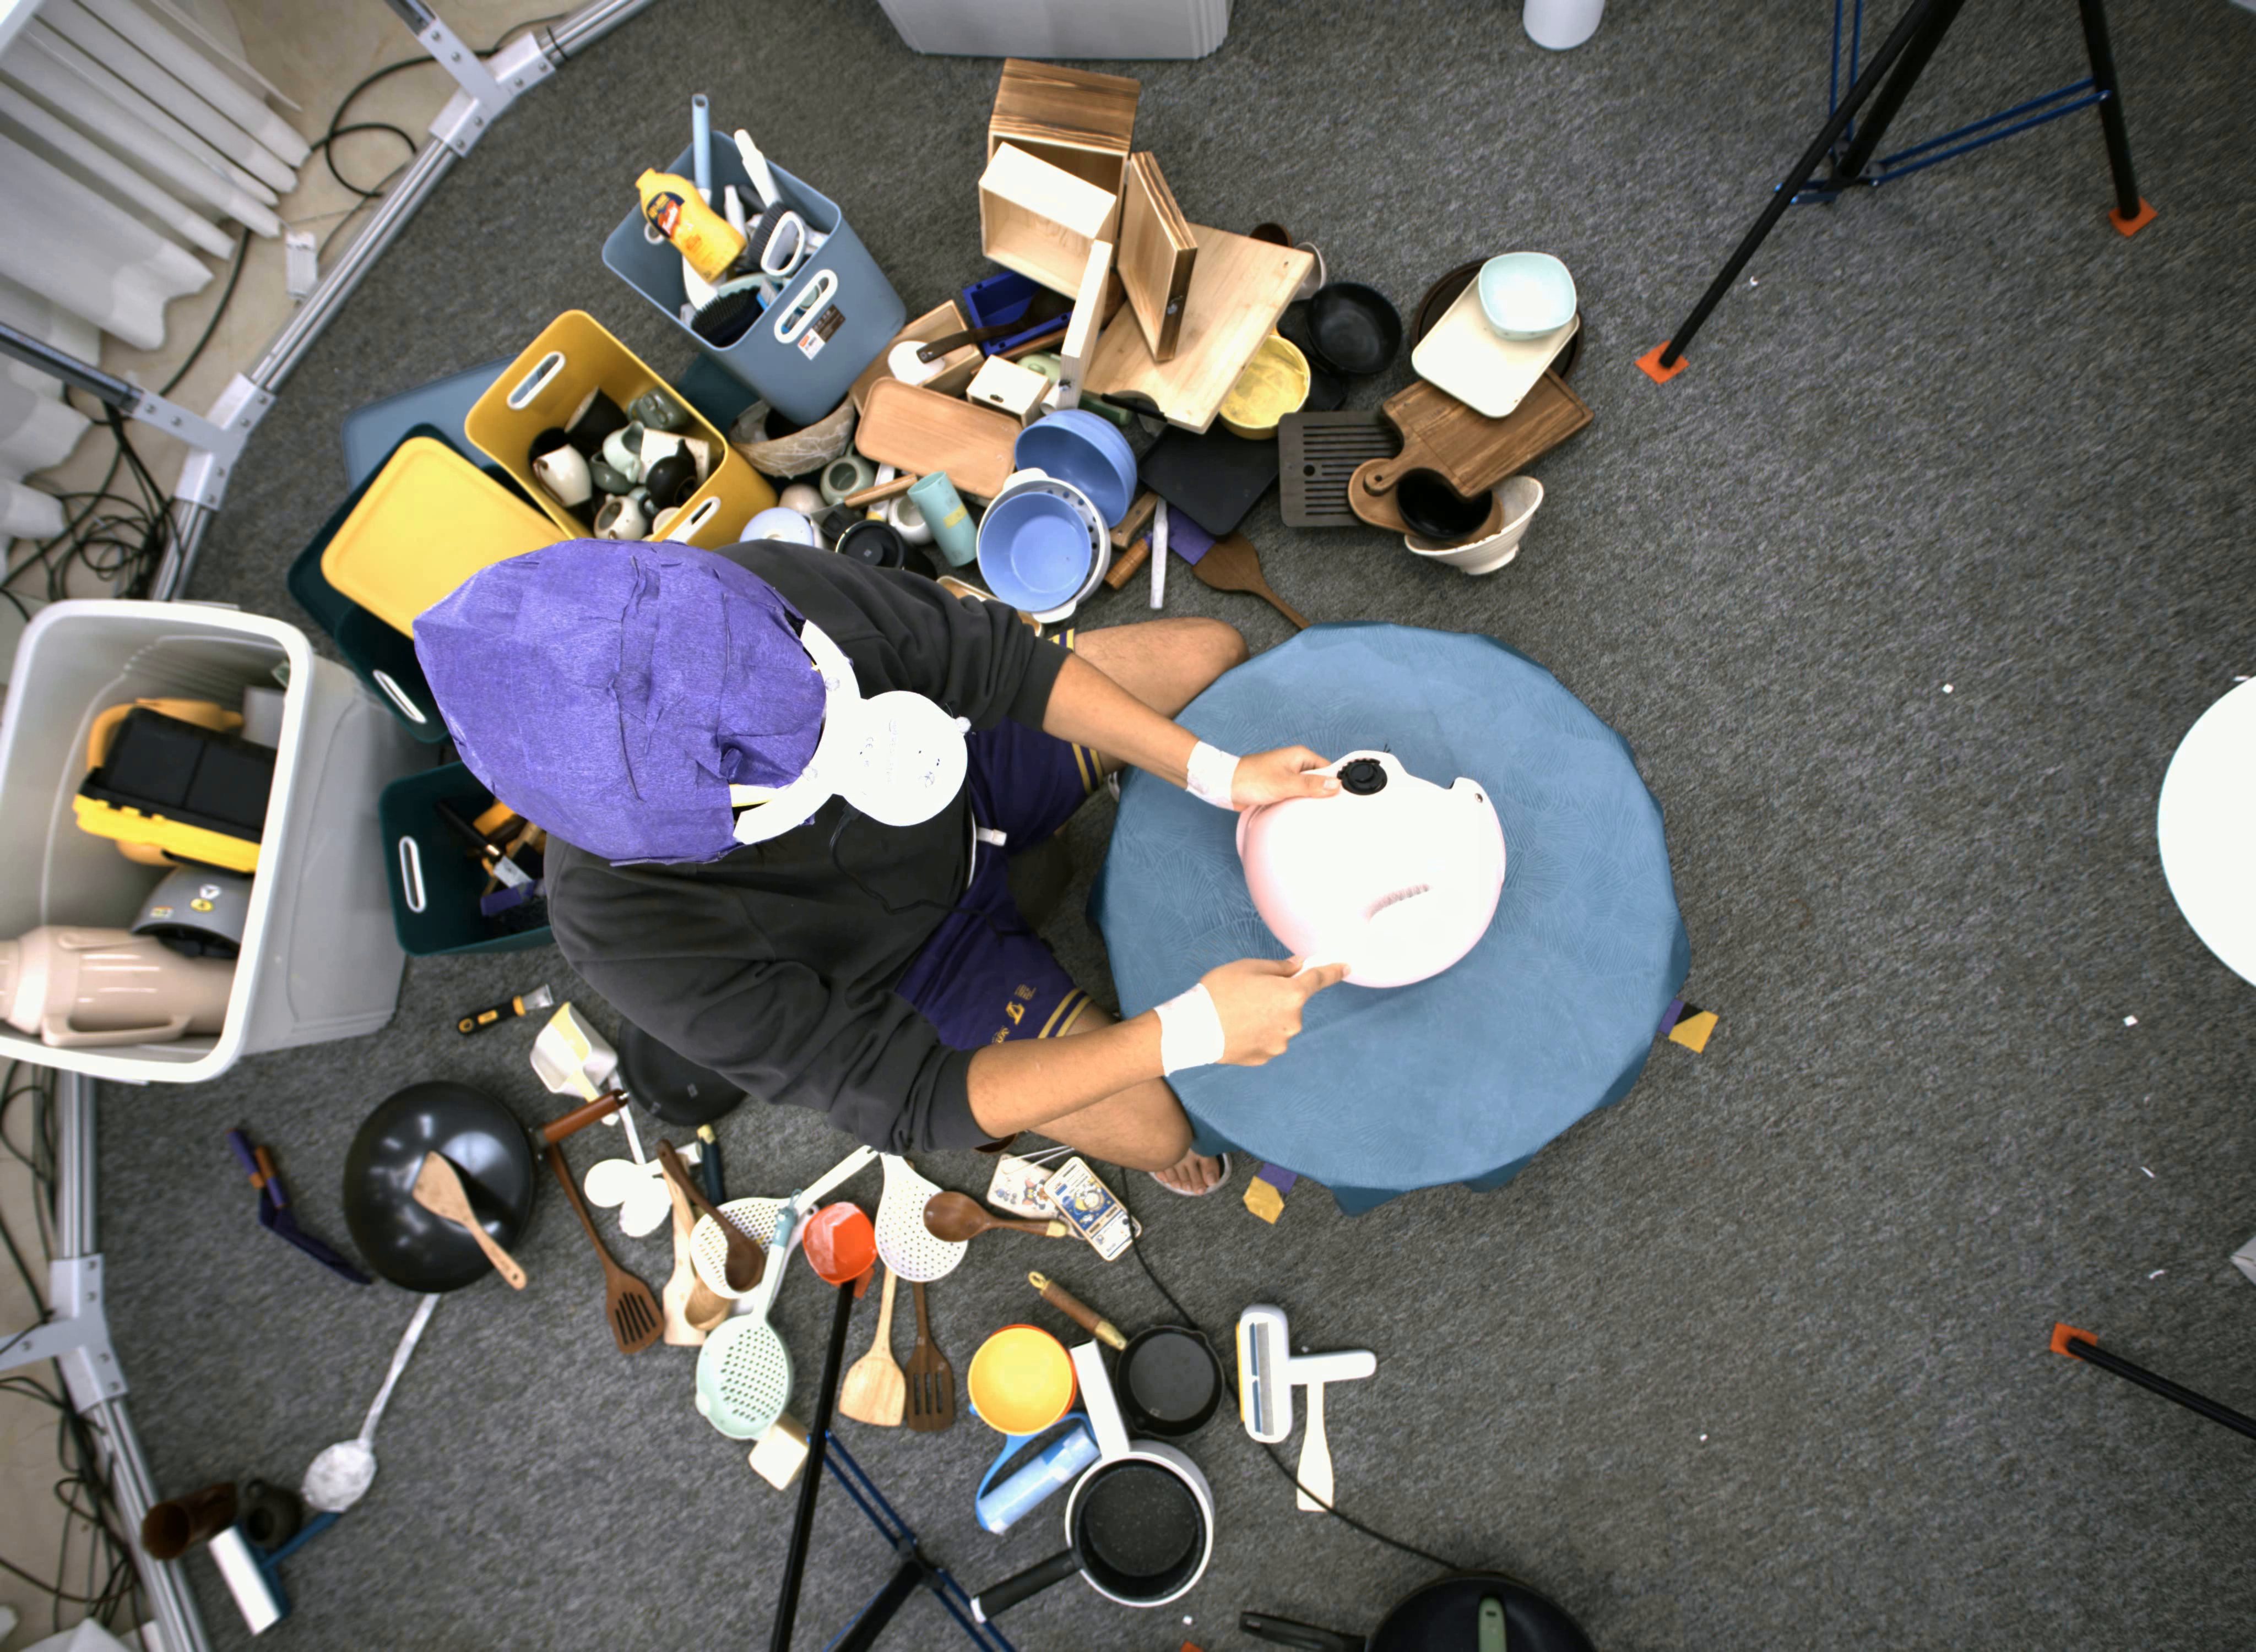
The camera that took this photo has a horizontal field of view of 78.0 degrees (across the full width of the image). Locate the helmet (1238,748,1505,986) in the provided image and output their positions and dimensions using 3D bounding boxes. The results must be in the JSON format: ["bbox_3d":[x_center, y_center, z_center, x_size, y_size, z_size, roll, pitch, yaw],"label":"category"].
[{"bbox_3d":[0.230,0.059,1.338,0.266,0.240,0.154,10,43,6],"label":"helmet"}]

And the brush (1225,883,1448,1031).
[{"bbox_3d":[0.177,0.111,1.199,0.241,0.050,0.035,-26,105,-19],"label":"brush"}]
